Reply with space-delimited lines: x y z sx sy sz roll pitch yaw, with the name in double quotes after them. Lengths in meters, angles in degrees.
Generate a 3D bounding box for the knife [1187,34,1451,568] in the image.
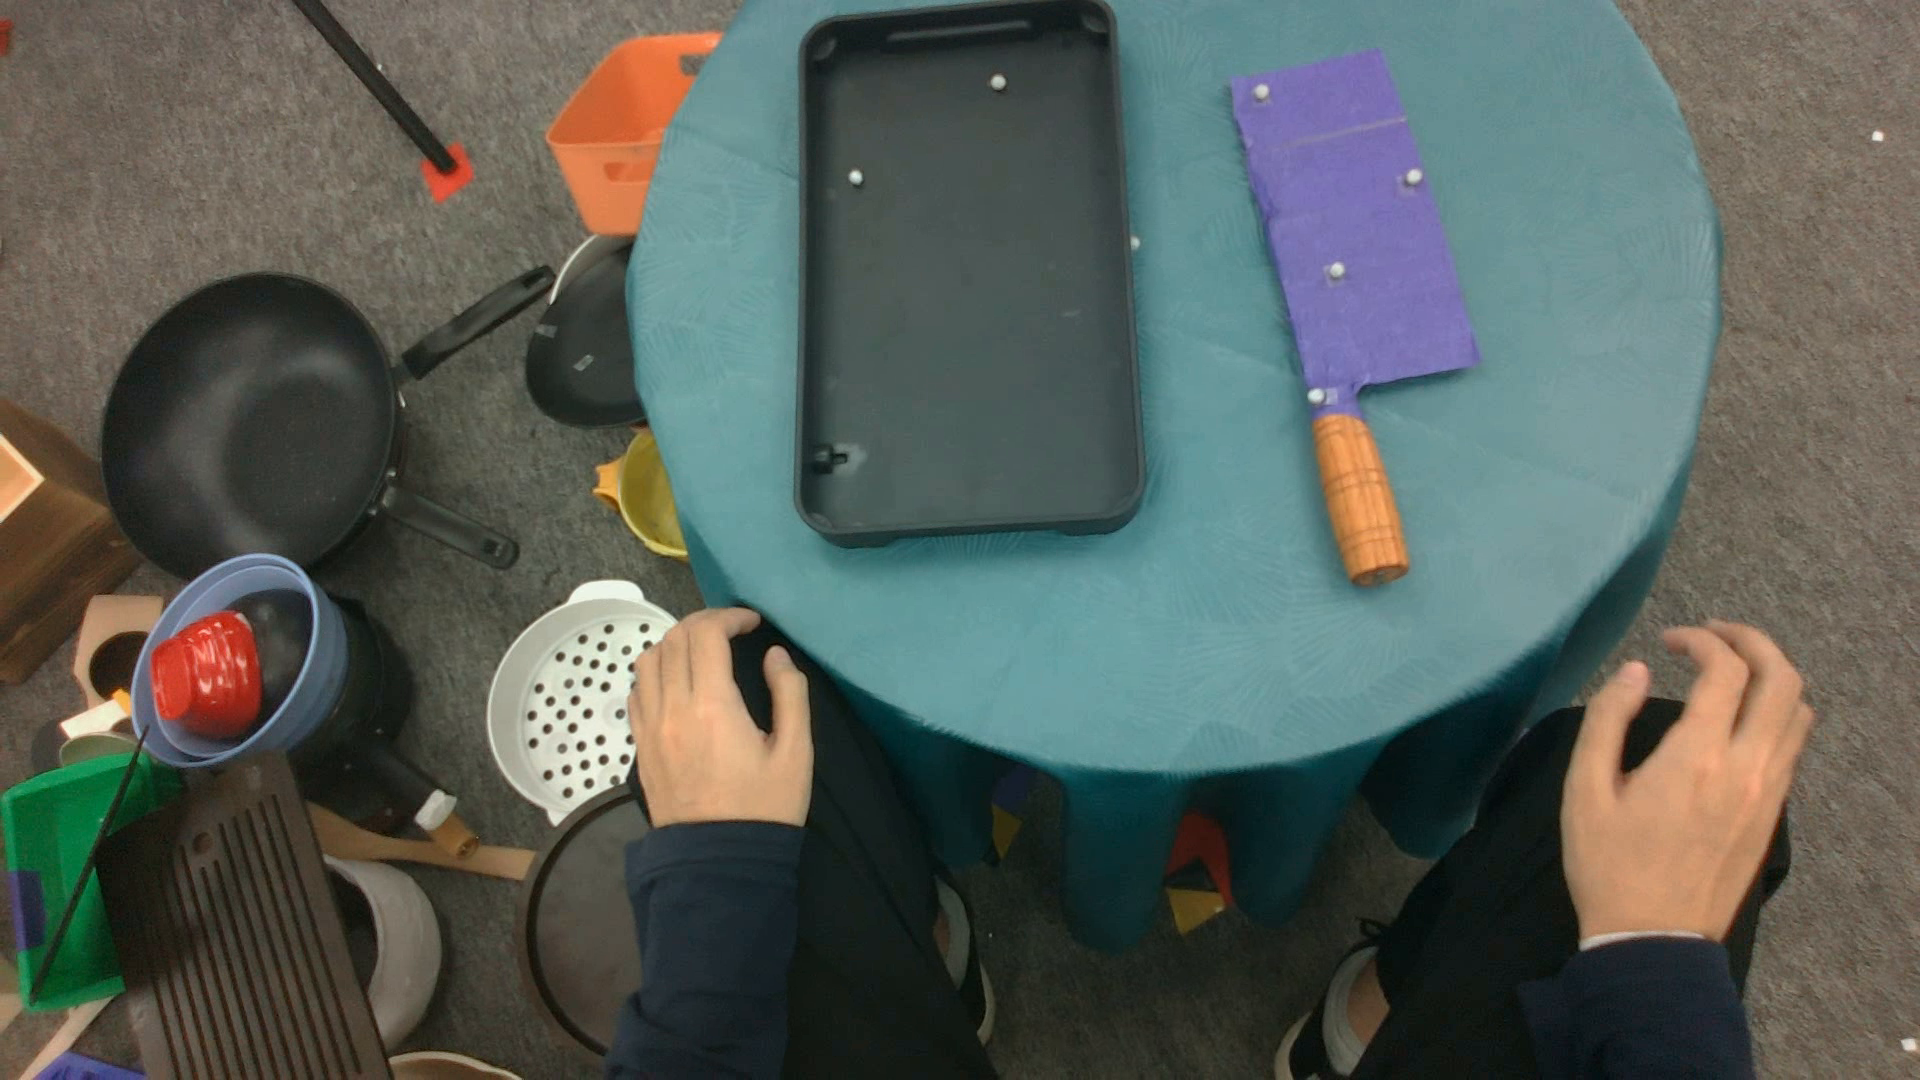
0.207 -0.142 0.738 0.104 0.032 0.316 -11 71 2 "knife"

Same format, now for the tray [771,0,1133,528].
-0.009 -0.165 0.764 0.184 0.037 0.318 -5 73 4 "tray"
